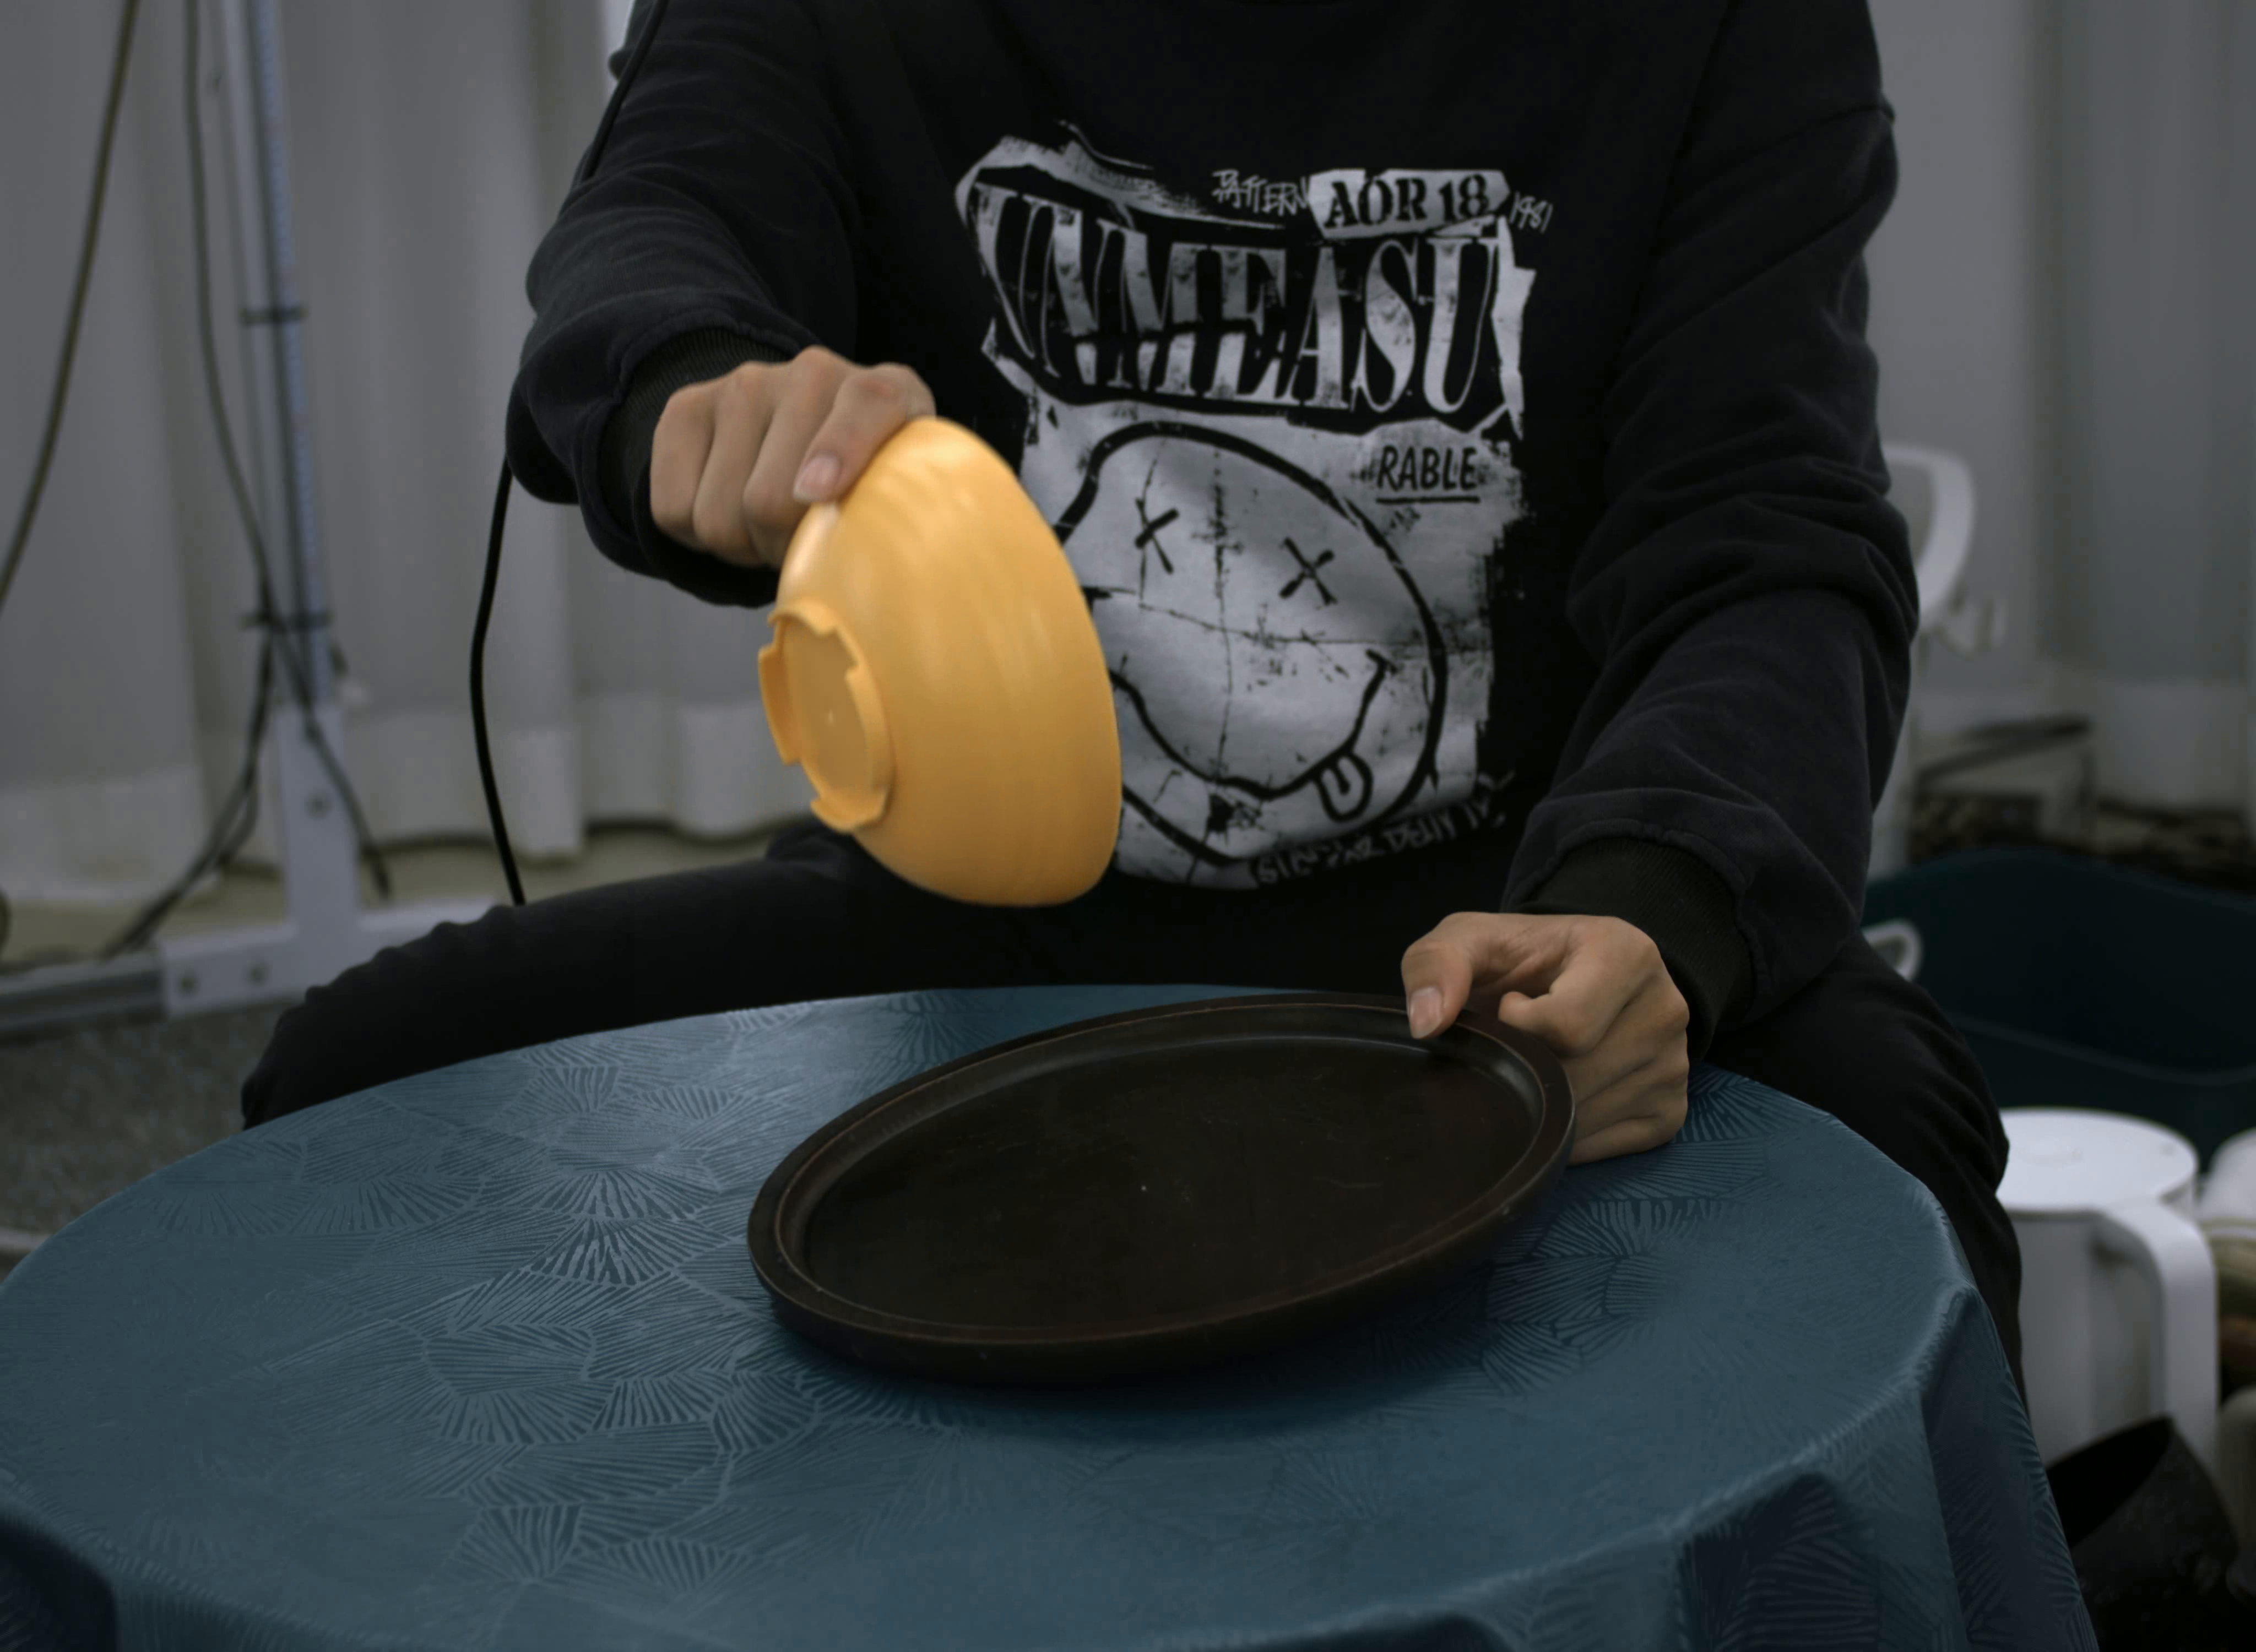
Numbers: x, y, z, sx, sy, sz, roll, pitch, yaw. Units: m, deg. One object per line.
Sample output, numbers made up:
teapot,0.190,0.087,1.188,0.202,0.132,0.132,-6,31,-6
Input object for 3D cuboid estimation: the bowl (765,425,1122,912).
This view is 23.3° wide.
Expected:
bowl,-0.062,-0.037,1.552,0.060,0.144,0.146,-18,20,-24

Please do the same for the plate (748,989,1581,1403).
plate,0.011,0.108,1.635,0.254,0.029,0.257,-11,18,3
